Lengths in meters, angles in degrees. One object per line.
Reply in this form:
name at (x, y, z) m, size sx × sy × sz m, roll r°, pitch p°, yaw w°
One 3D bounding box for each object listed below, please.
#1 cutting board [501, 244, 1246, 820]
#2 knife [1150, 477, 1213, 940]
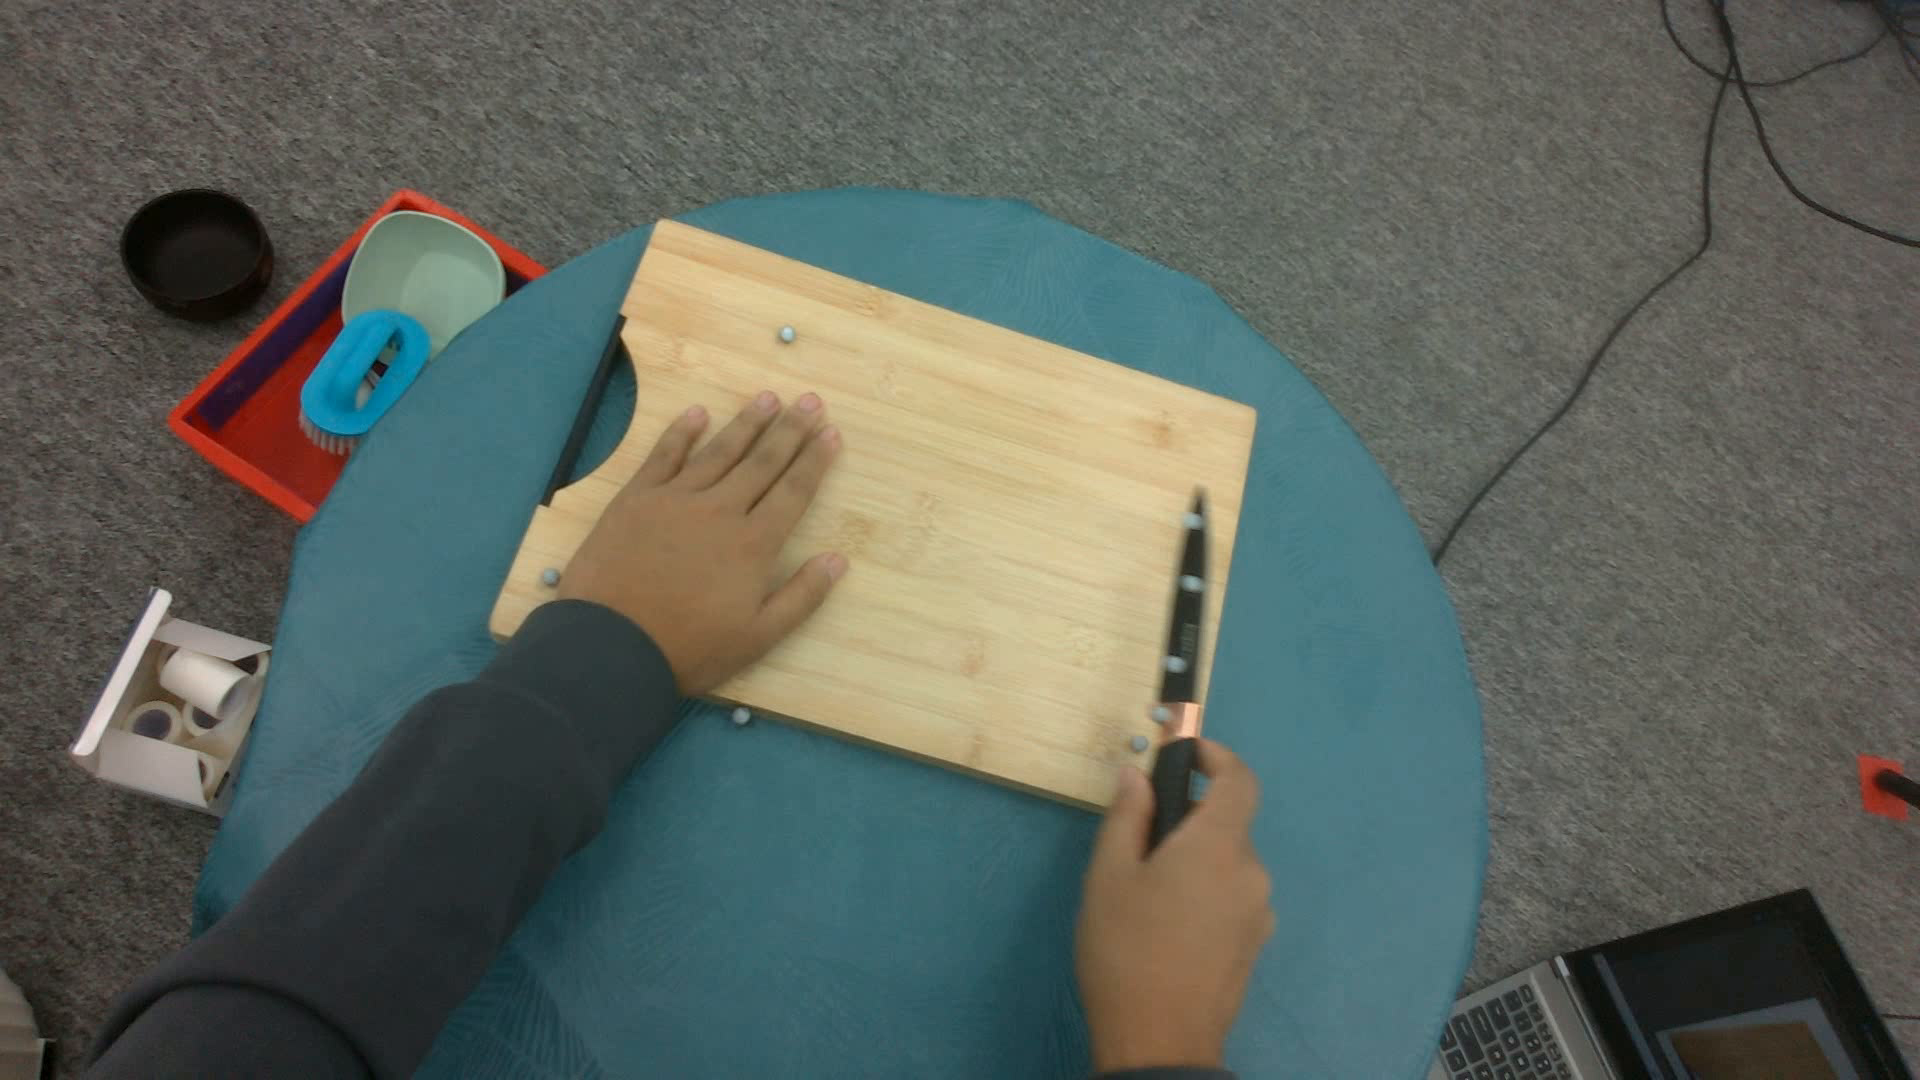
cutting board at (-0.029, -0.009, 0.716) m, size 0.349 × 0.023 × 0.251 m, roll 13°, pitch 65°, yaw -5°
knife at (0.107, 0.072, 0.649) m, size 0.017 × 0.026 × 0.226 m, roll 28°, pitch 62°, yaw -42°
